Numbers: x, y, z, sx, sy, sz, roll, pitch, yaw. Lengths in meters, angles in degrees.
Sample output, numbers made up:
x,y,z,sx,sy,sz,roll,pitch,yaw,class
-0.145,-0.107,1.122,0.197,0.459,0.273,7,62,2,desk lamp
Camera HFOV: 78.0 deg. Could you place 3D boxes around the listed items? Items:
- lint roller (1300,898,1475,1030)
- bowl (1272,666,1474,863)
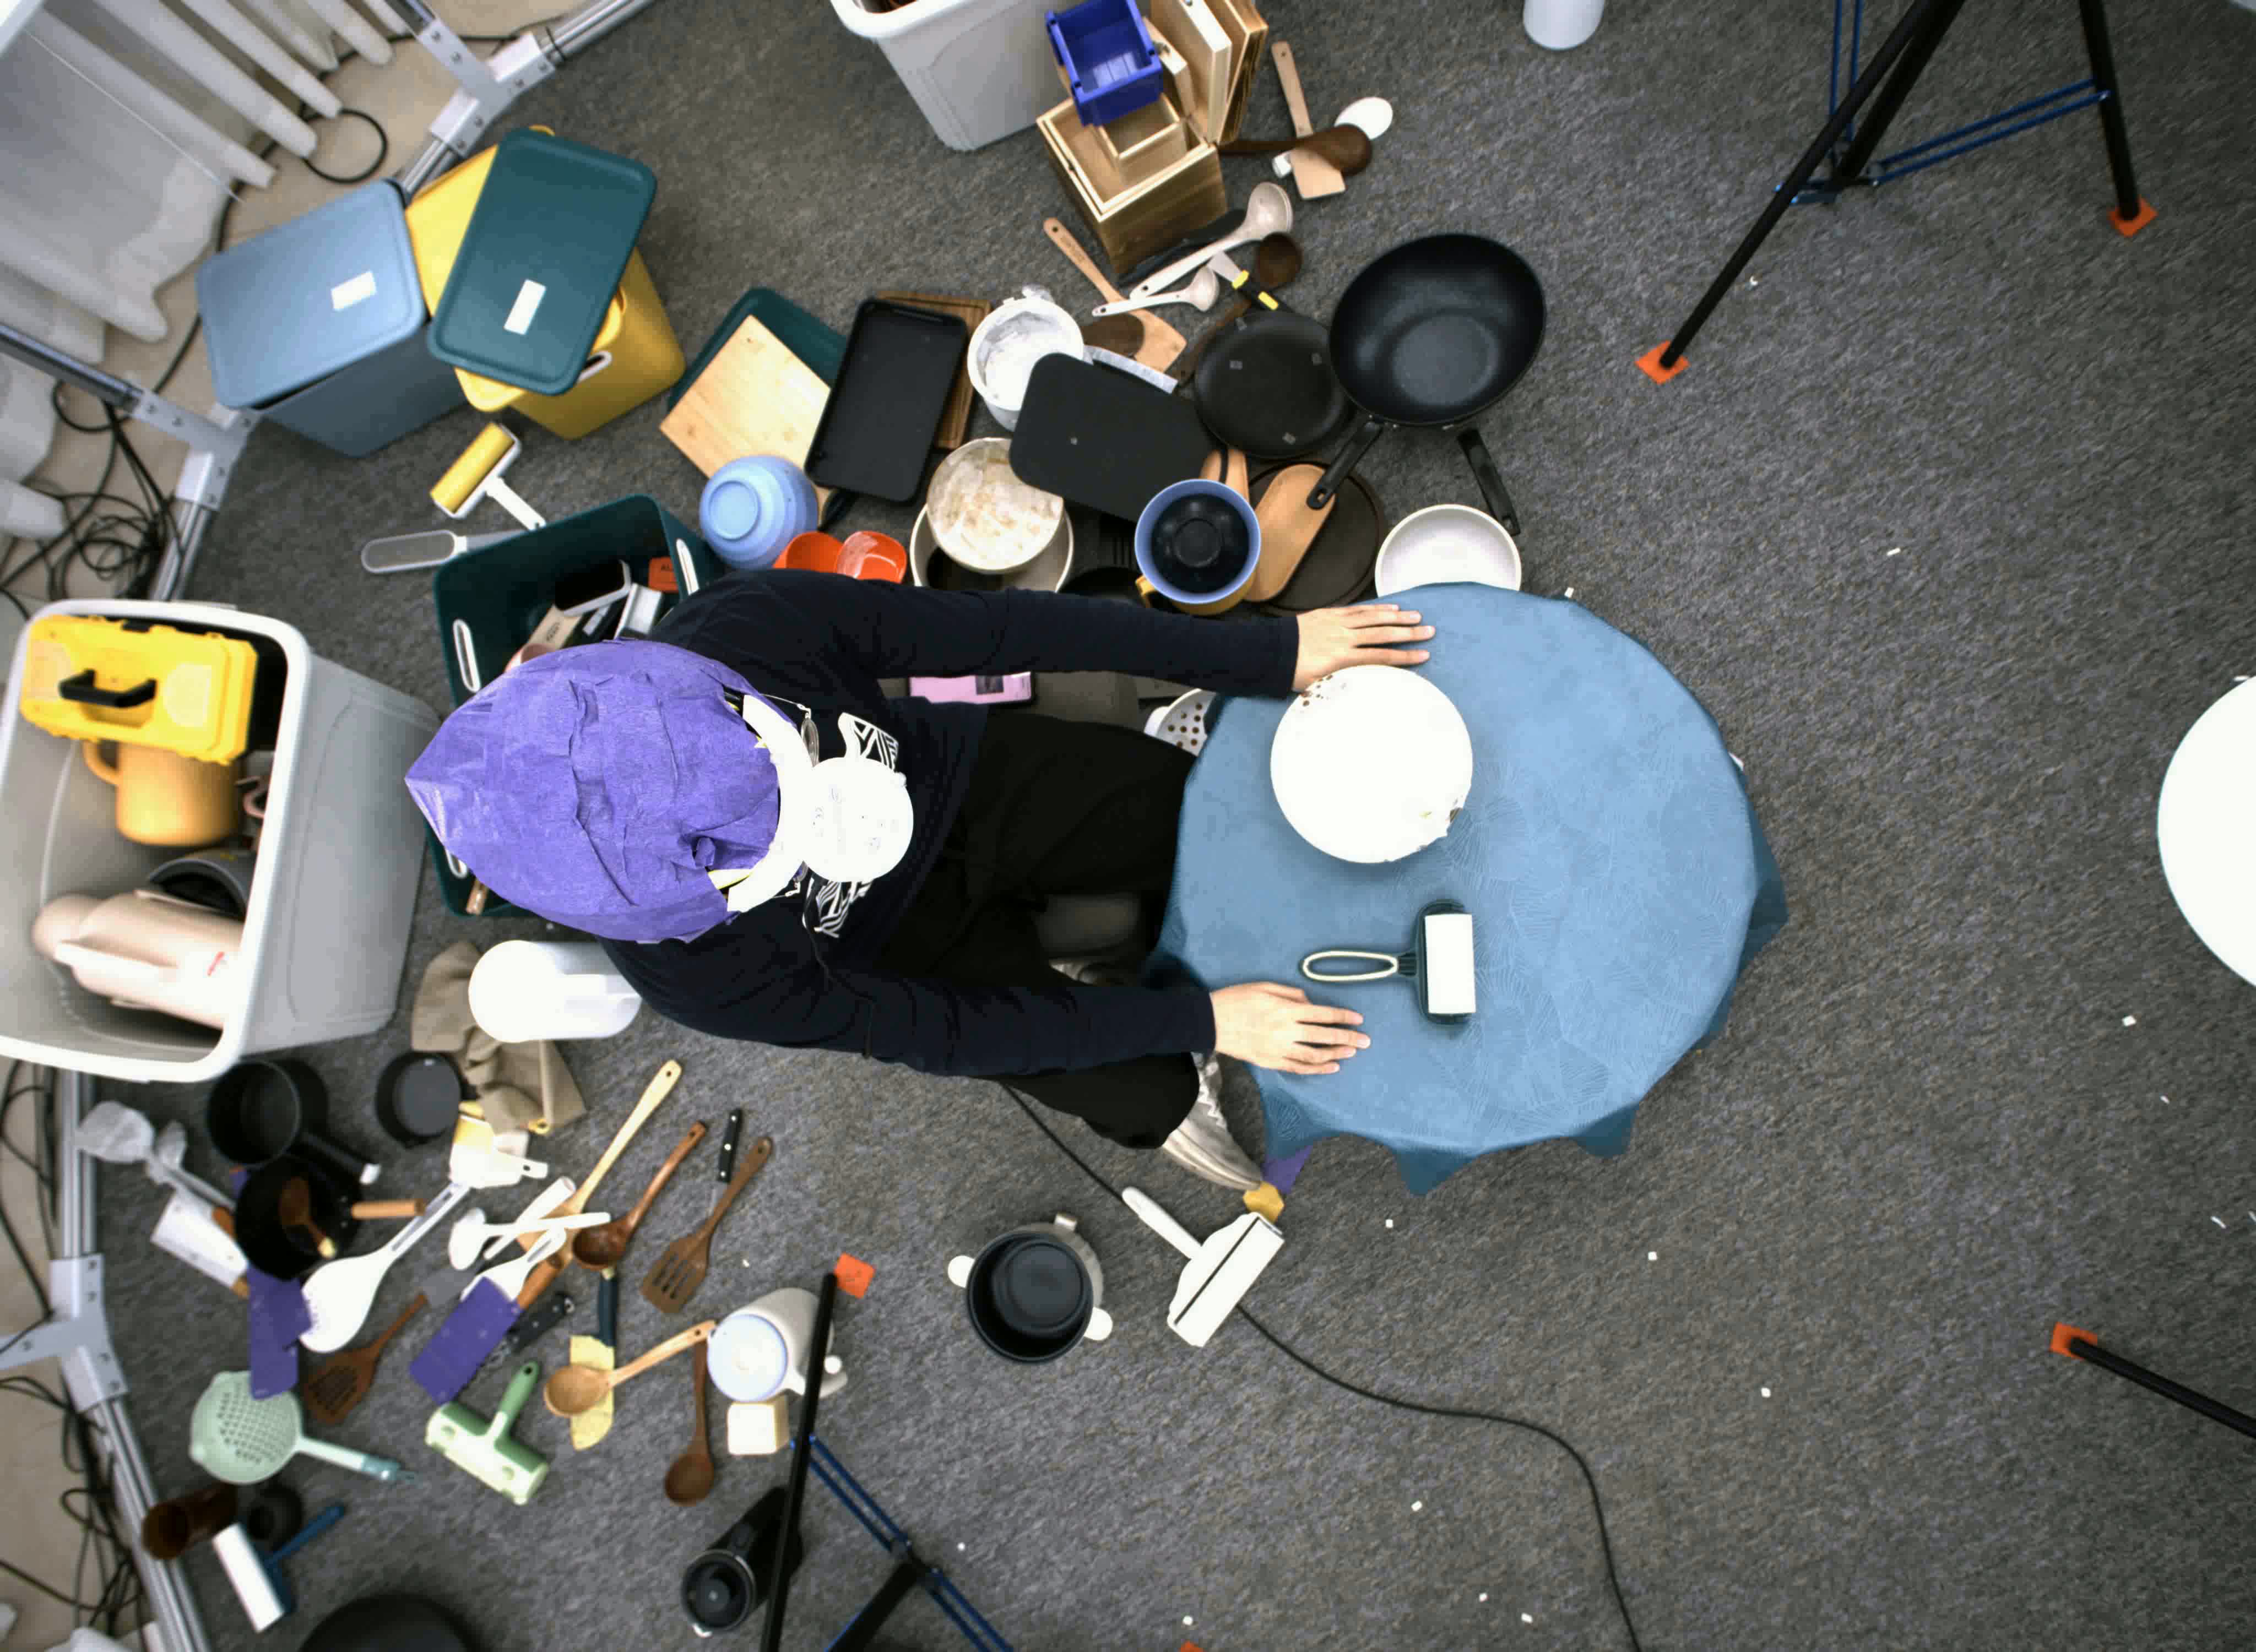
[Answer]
x,y,z,sx,sy,sz,roll,pitch,yaw,class
0.266,0.144,1.437,0.181,0.048,0.133,-3,86,14,lint roller
0.254,-0.061,1.431,0.205,0.078,0.203,-1,85,11,bowl
